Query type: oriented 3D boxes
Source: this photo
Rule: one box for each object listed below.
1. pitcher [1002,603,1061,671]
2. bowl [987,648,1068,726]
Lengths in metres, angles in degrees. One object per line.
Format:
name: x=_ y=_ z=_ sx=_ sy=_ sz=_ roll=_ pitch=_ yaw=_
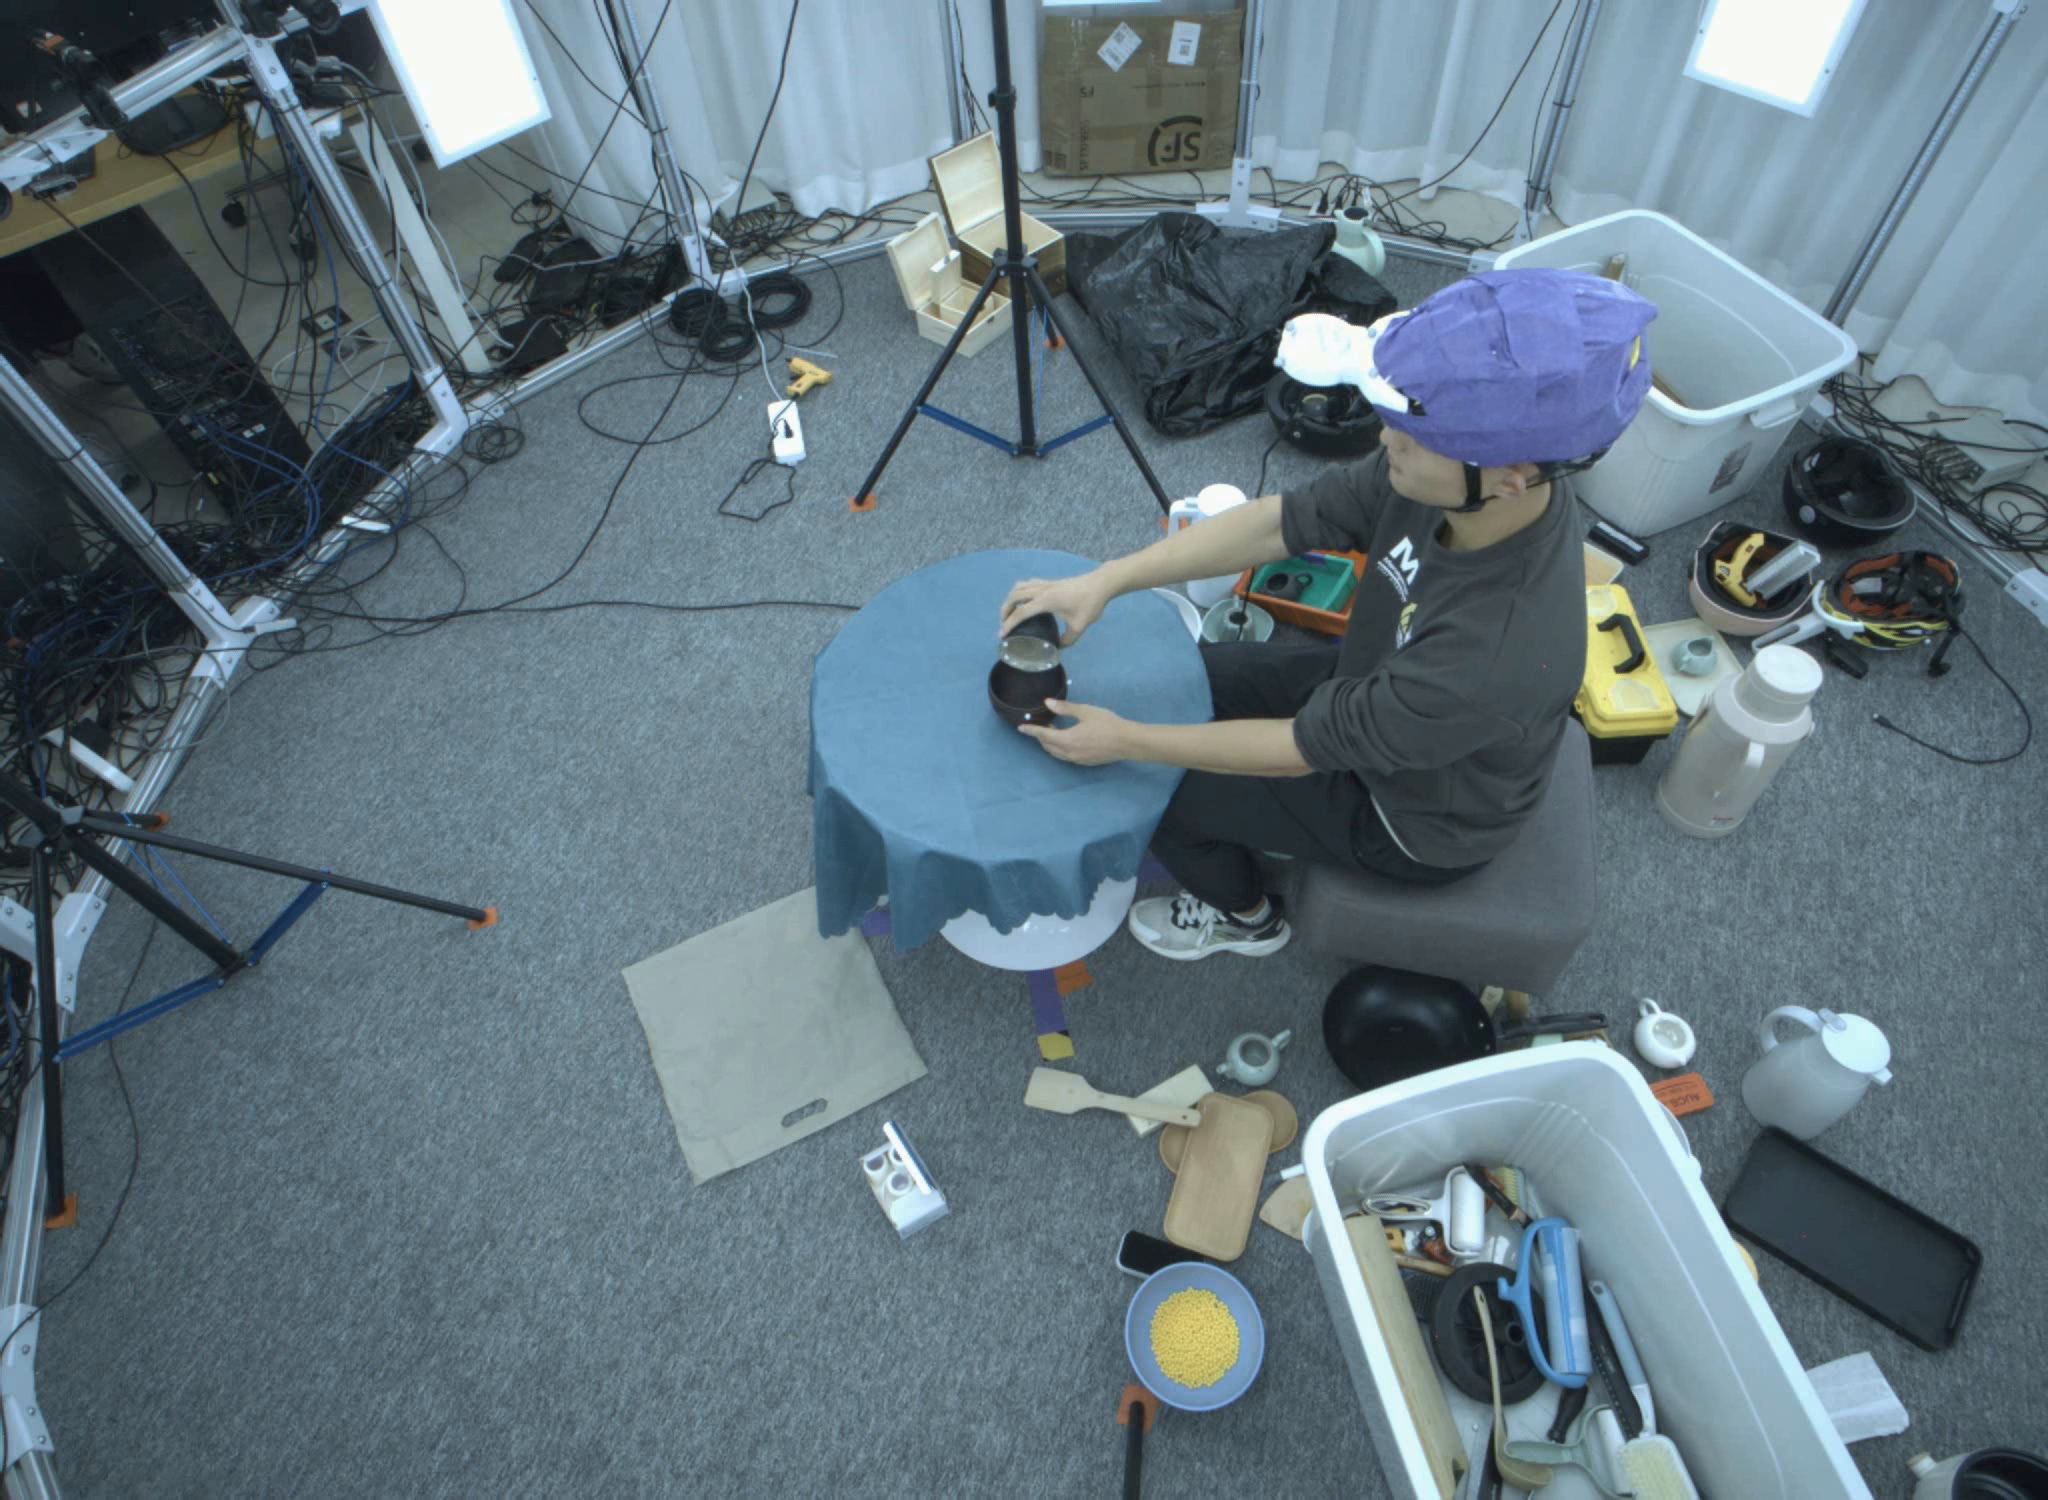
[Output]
pitcher: x=0.012 y=-0.166 z=1.764 sx=0.084 sy=0.096 sz=0.071 roll=6 pitch=66 yaw=-2
bowl: x=0.007 y=-0.084 z=1.801 sx=0.118 sy=0.071 sz=0.117 roll=-2 pitch=53 yaw=3
